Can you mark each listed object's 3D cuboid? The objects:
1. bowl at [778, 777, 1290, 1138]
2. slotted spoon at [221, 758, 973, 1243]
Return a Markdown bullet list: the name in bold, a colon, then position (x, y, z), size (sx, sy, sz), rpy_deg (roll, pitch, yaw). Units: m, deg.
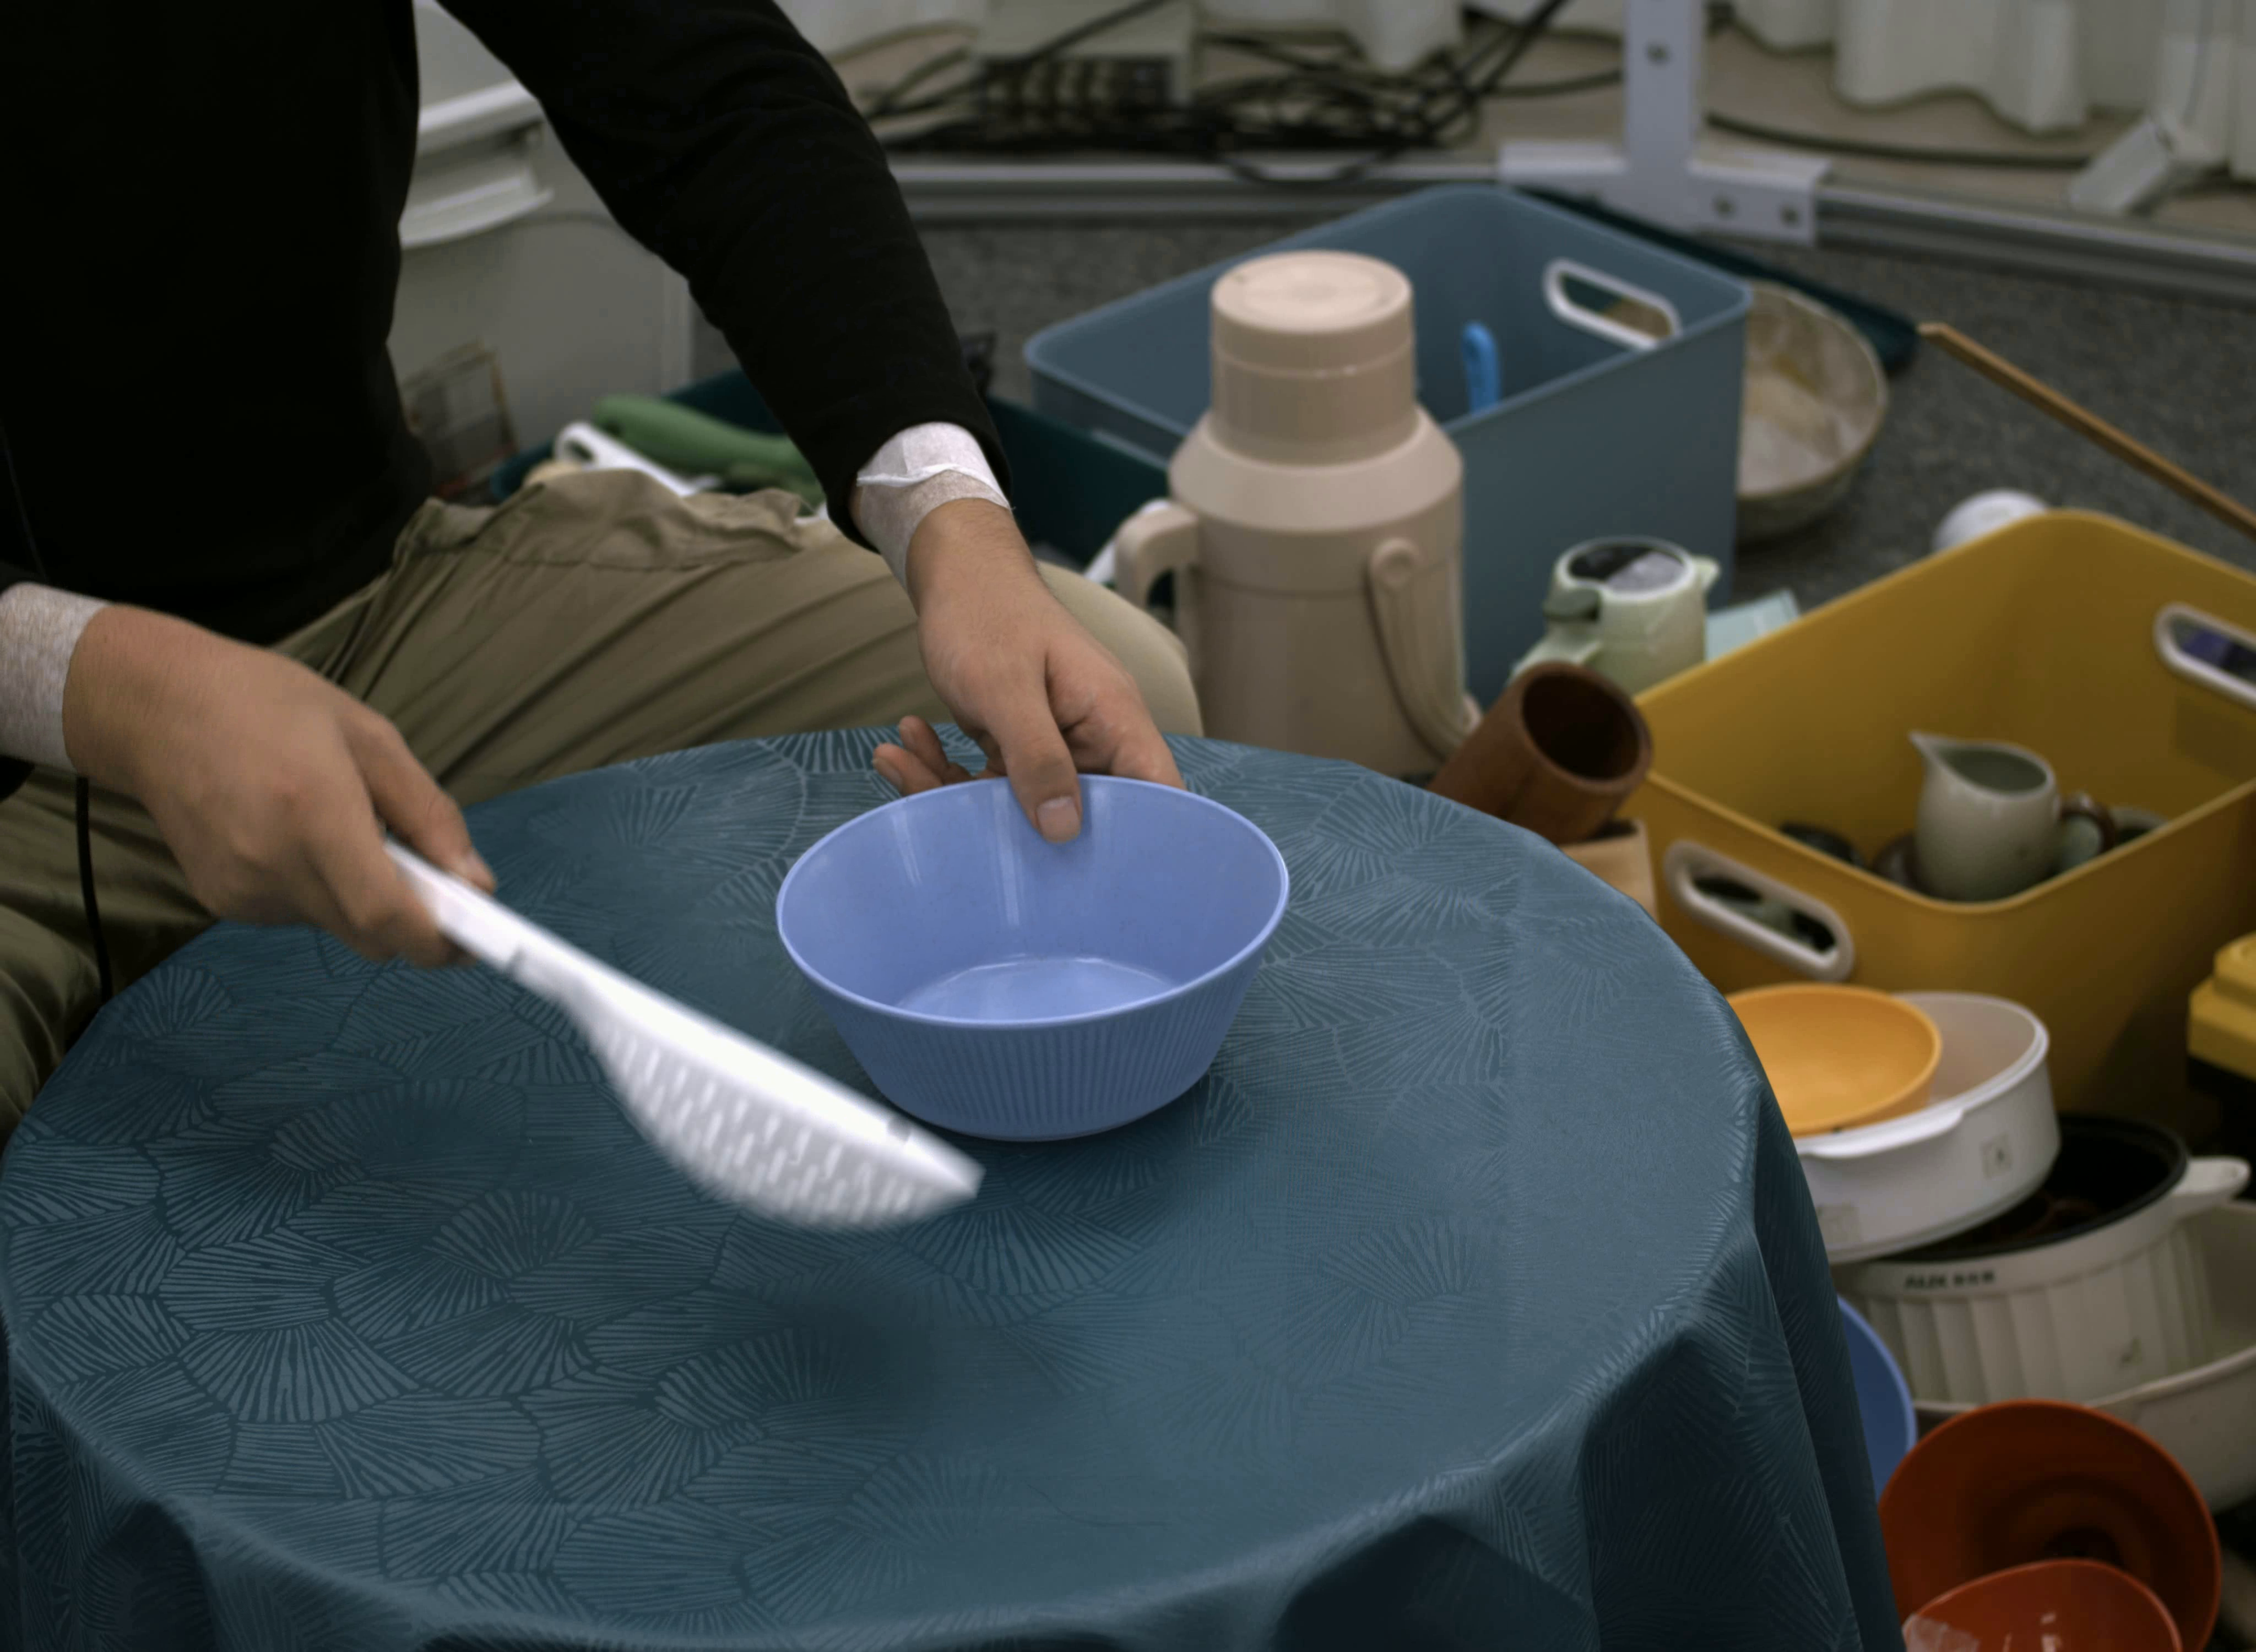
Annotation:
- **bowl**: position (-0.031, 0.051, 1.926), size (0.175, 0.069, 0.178), rpy_deg (-2, 26, 1)
- **slotted spoon**: position (-0.184, 0.051, 1.811), size (0.351, 0.046, 0.135), rpy_deg (35, 5, 39)
